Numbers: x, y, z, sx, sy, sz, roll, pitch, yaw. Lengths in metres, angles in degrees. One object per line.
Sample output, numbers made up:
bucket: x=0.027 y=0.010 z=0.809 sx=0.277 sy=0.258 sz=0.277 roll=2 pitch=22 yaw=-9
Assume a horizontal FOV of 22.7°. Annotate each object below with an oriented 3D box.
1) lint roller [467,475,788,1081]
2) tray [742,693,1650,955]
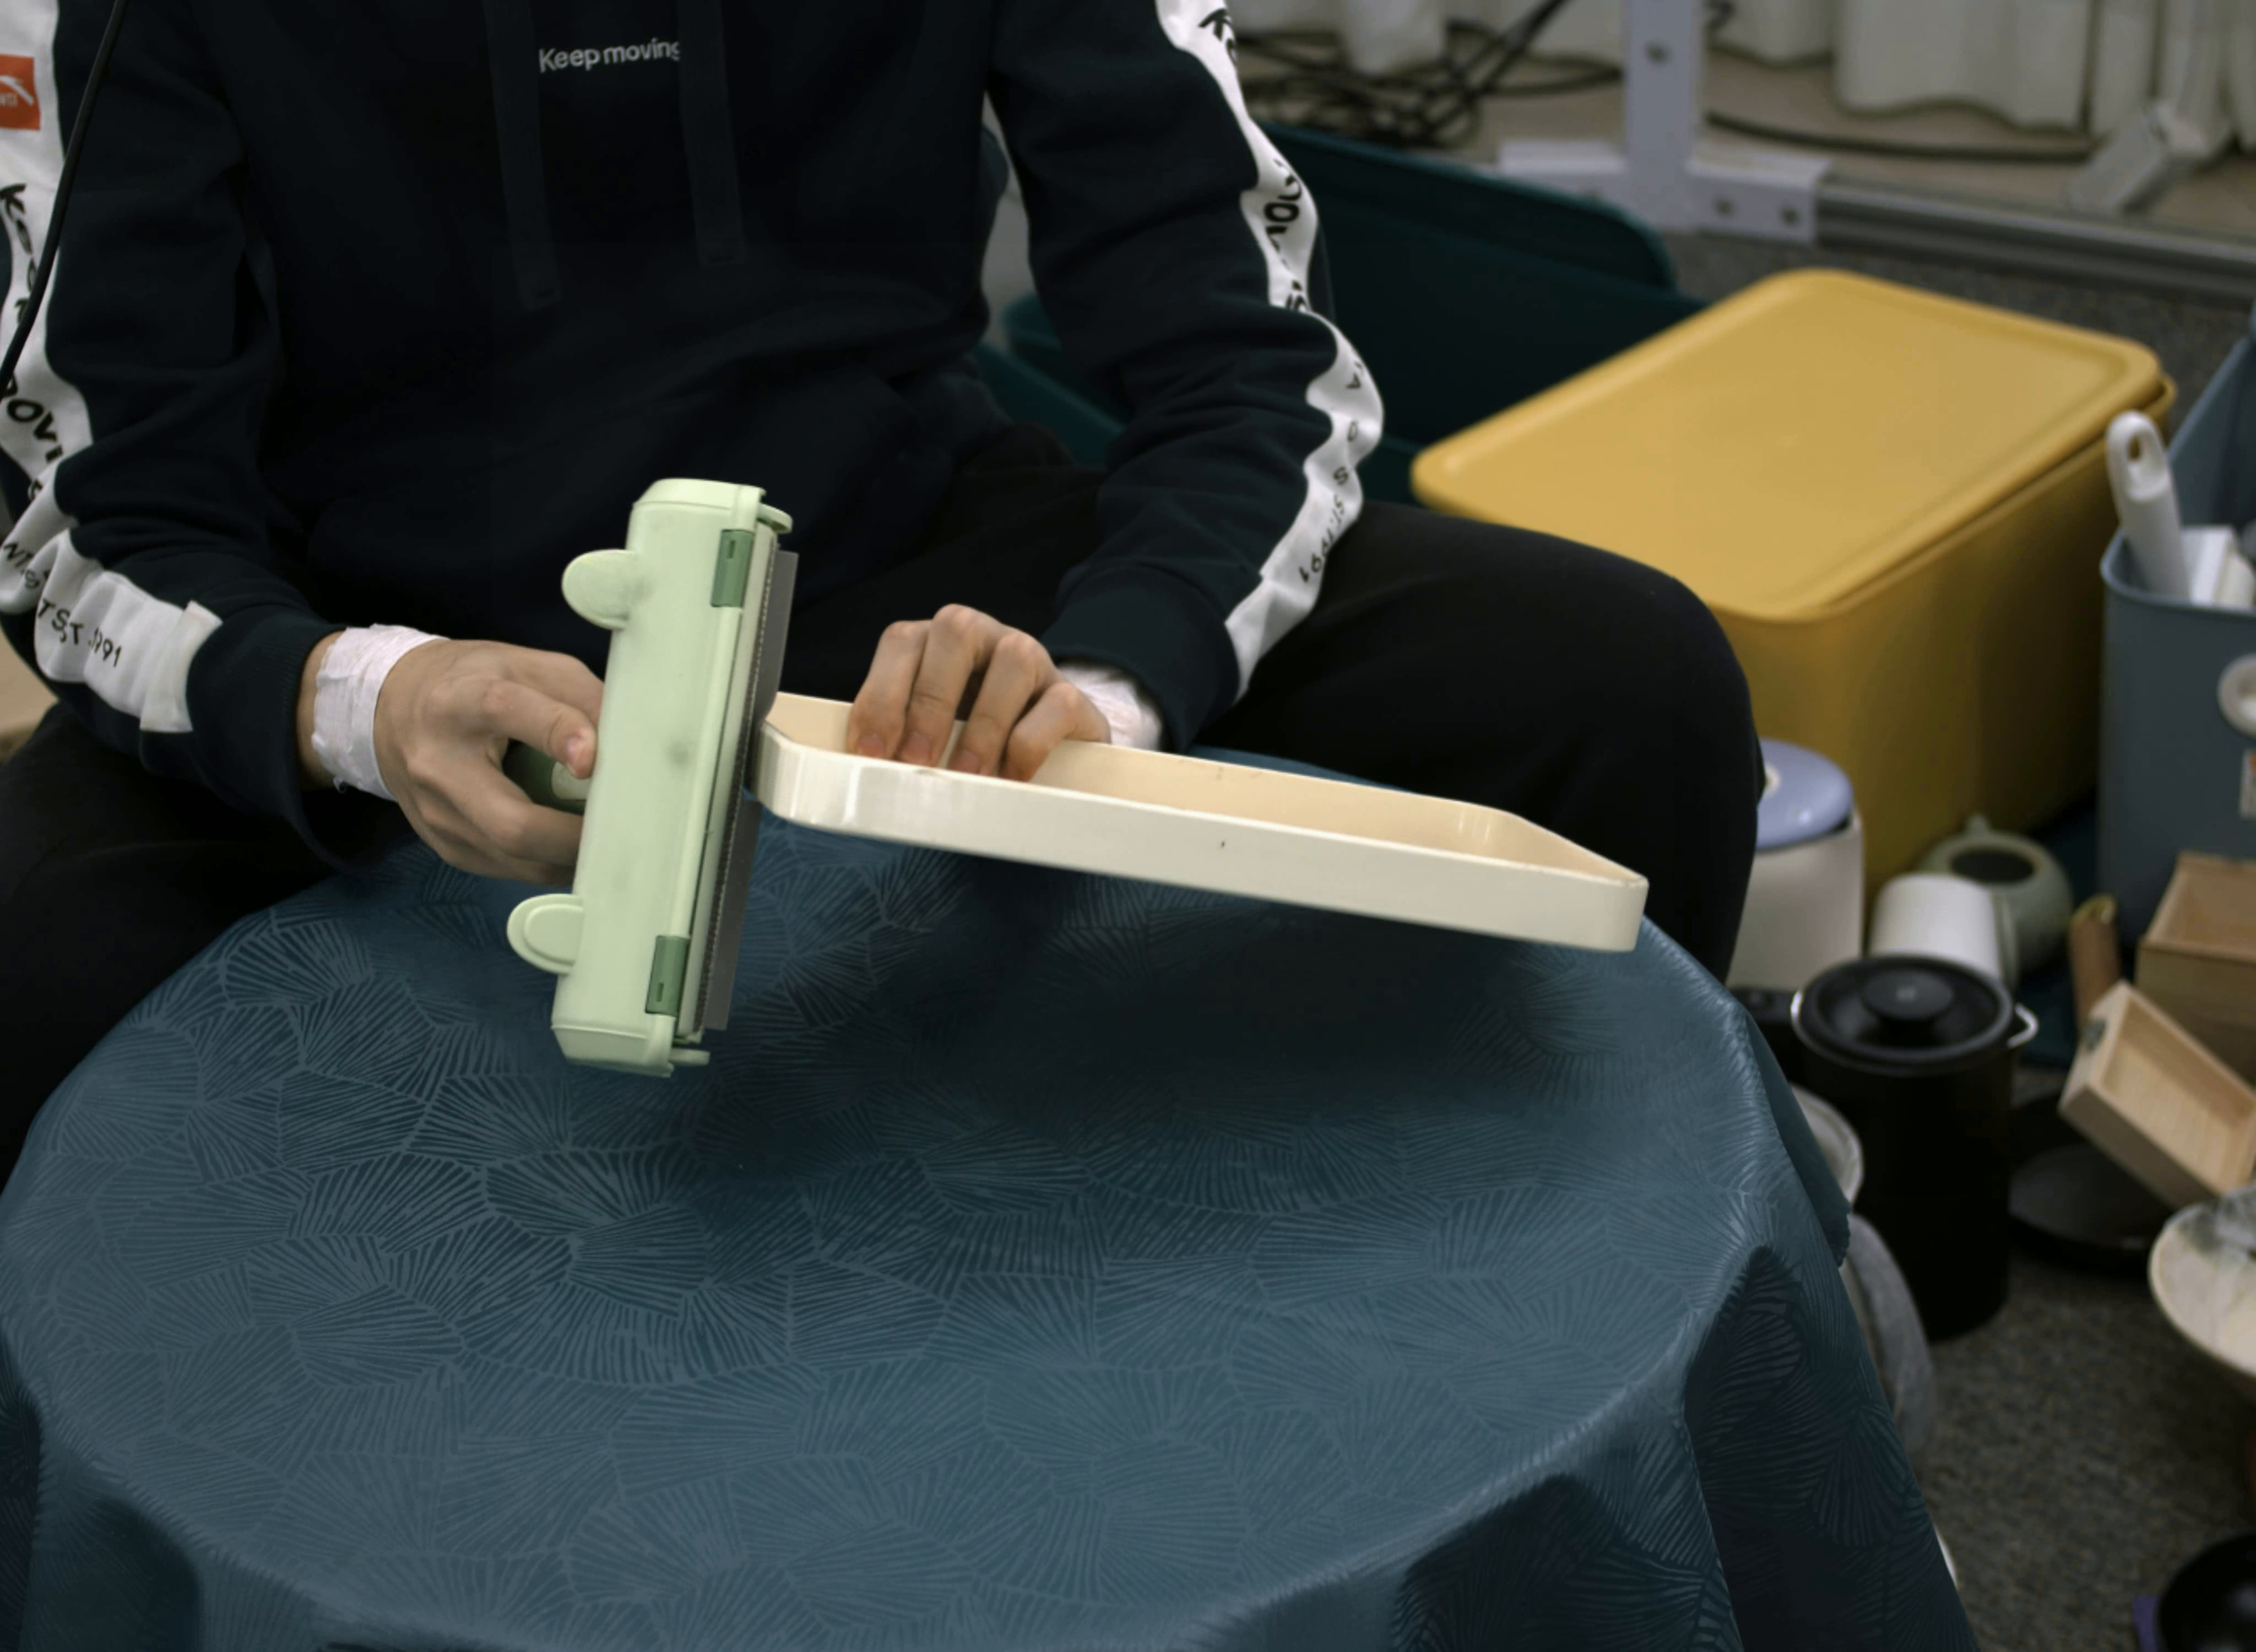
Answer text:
lint roller: x=-0.192 y=-0.017 z=1.894 sx=0.082 sy=0.200 sz=0.181 roll=15 pitch=-10 yaw=-40
tray: x=0.012 y=-0.002 z=1.924 sx=0.299 sy=0.027 sz=0.192 roll=9 pitch=5 yaw=-14
